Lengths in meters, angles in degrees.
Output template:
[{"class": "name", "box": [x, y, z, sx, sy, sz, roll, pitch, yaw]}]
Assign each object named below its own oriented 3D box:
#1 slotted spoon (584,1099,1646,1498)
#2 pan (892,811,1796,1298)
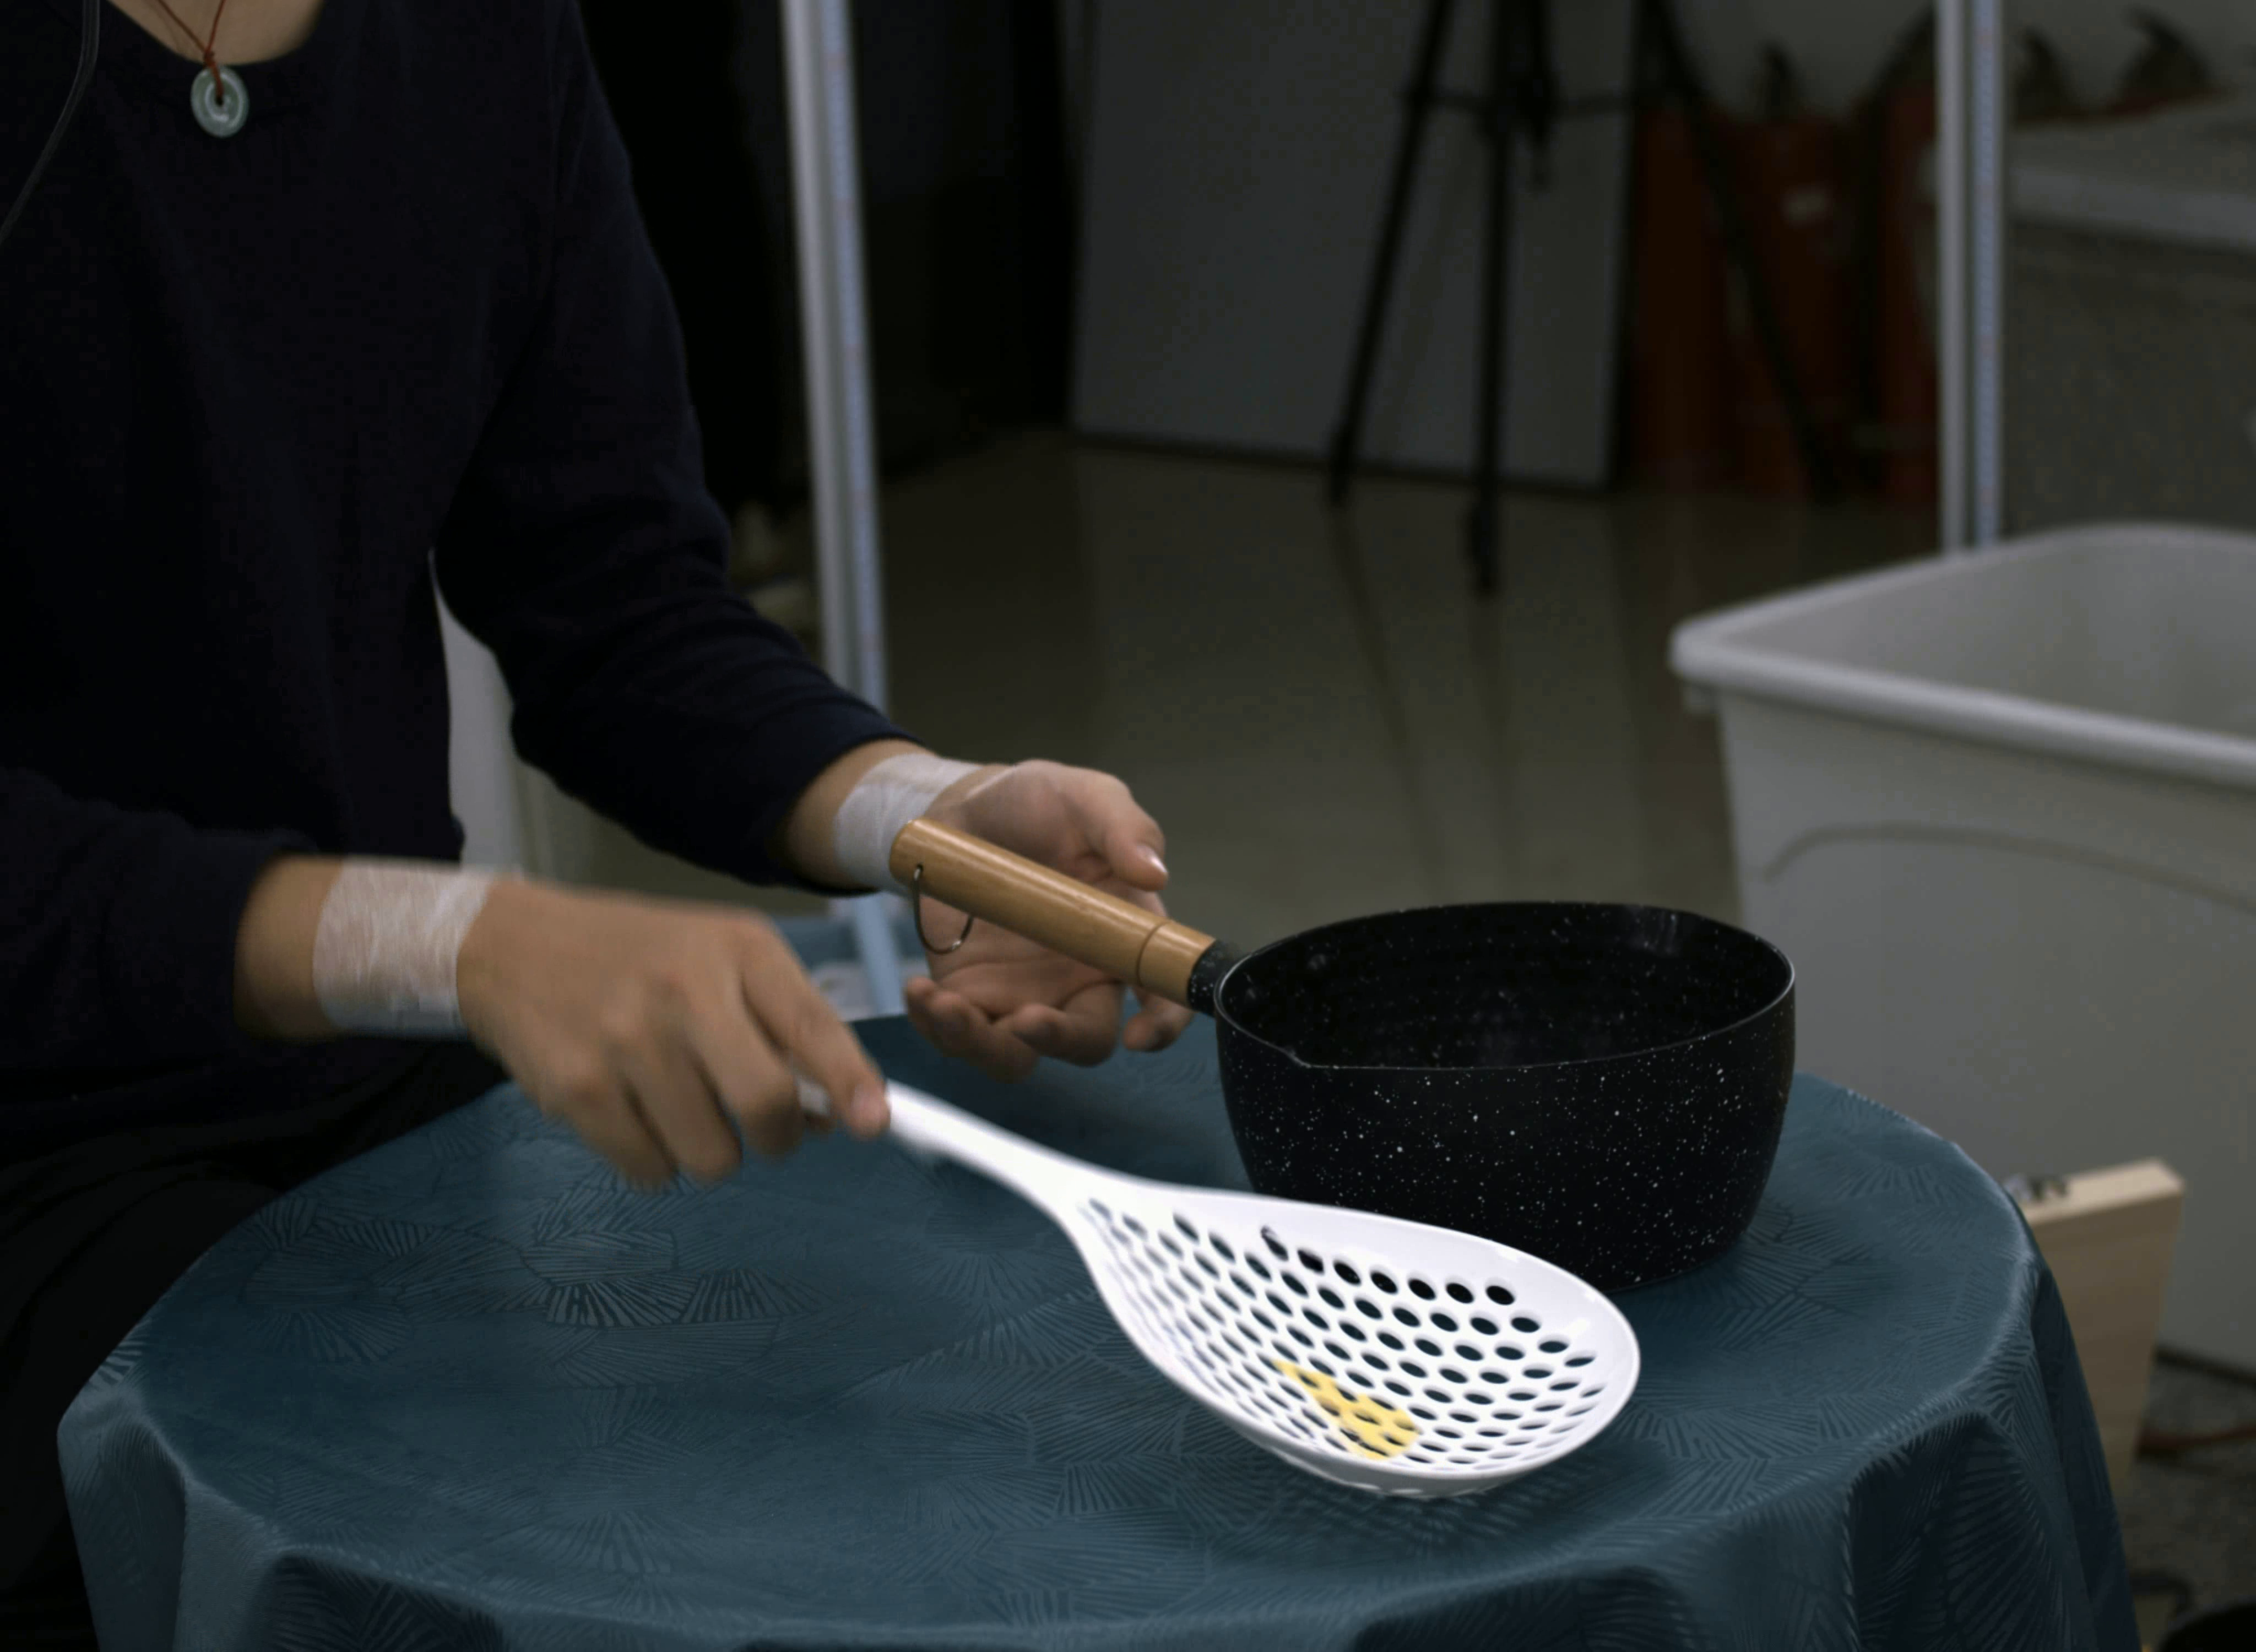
[{"class": "slotted spoon", "box": [-0.014, 0.122, 1.562, 0.350, 0.051, 0.135, 22, 32, 28]}, {"class": "pan", "box": [0.057, 0.068, 1.742, 0.345, 0.109, 0.203, 8, 19, 38]}]
